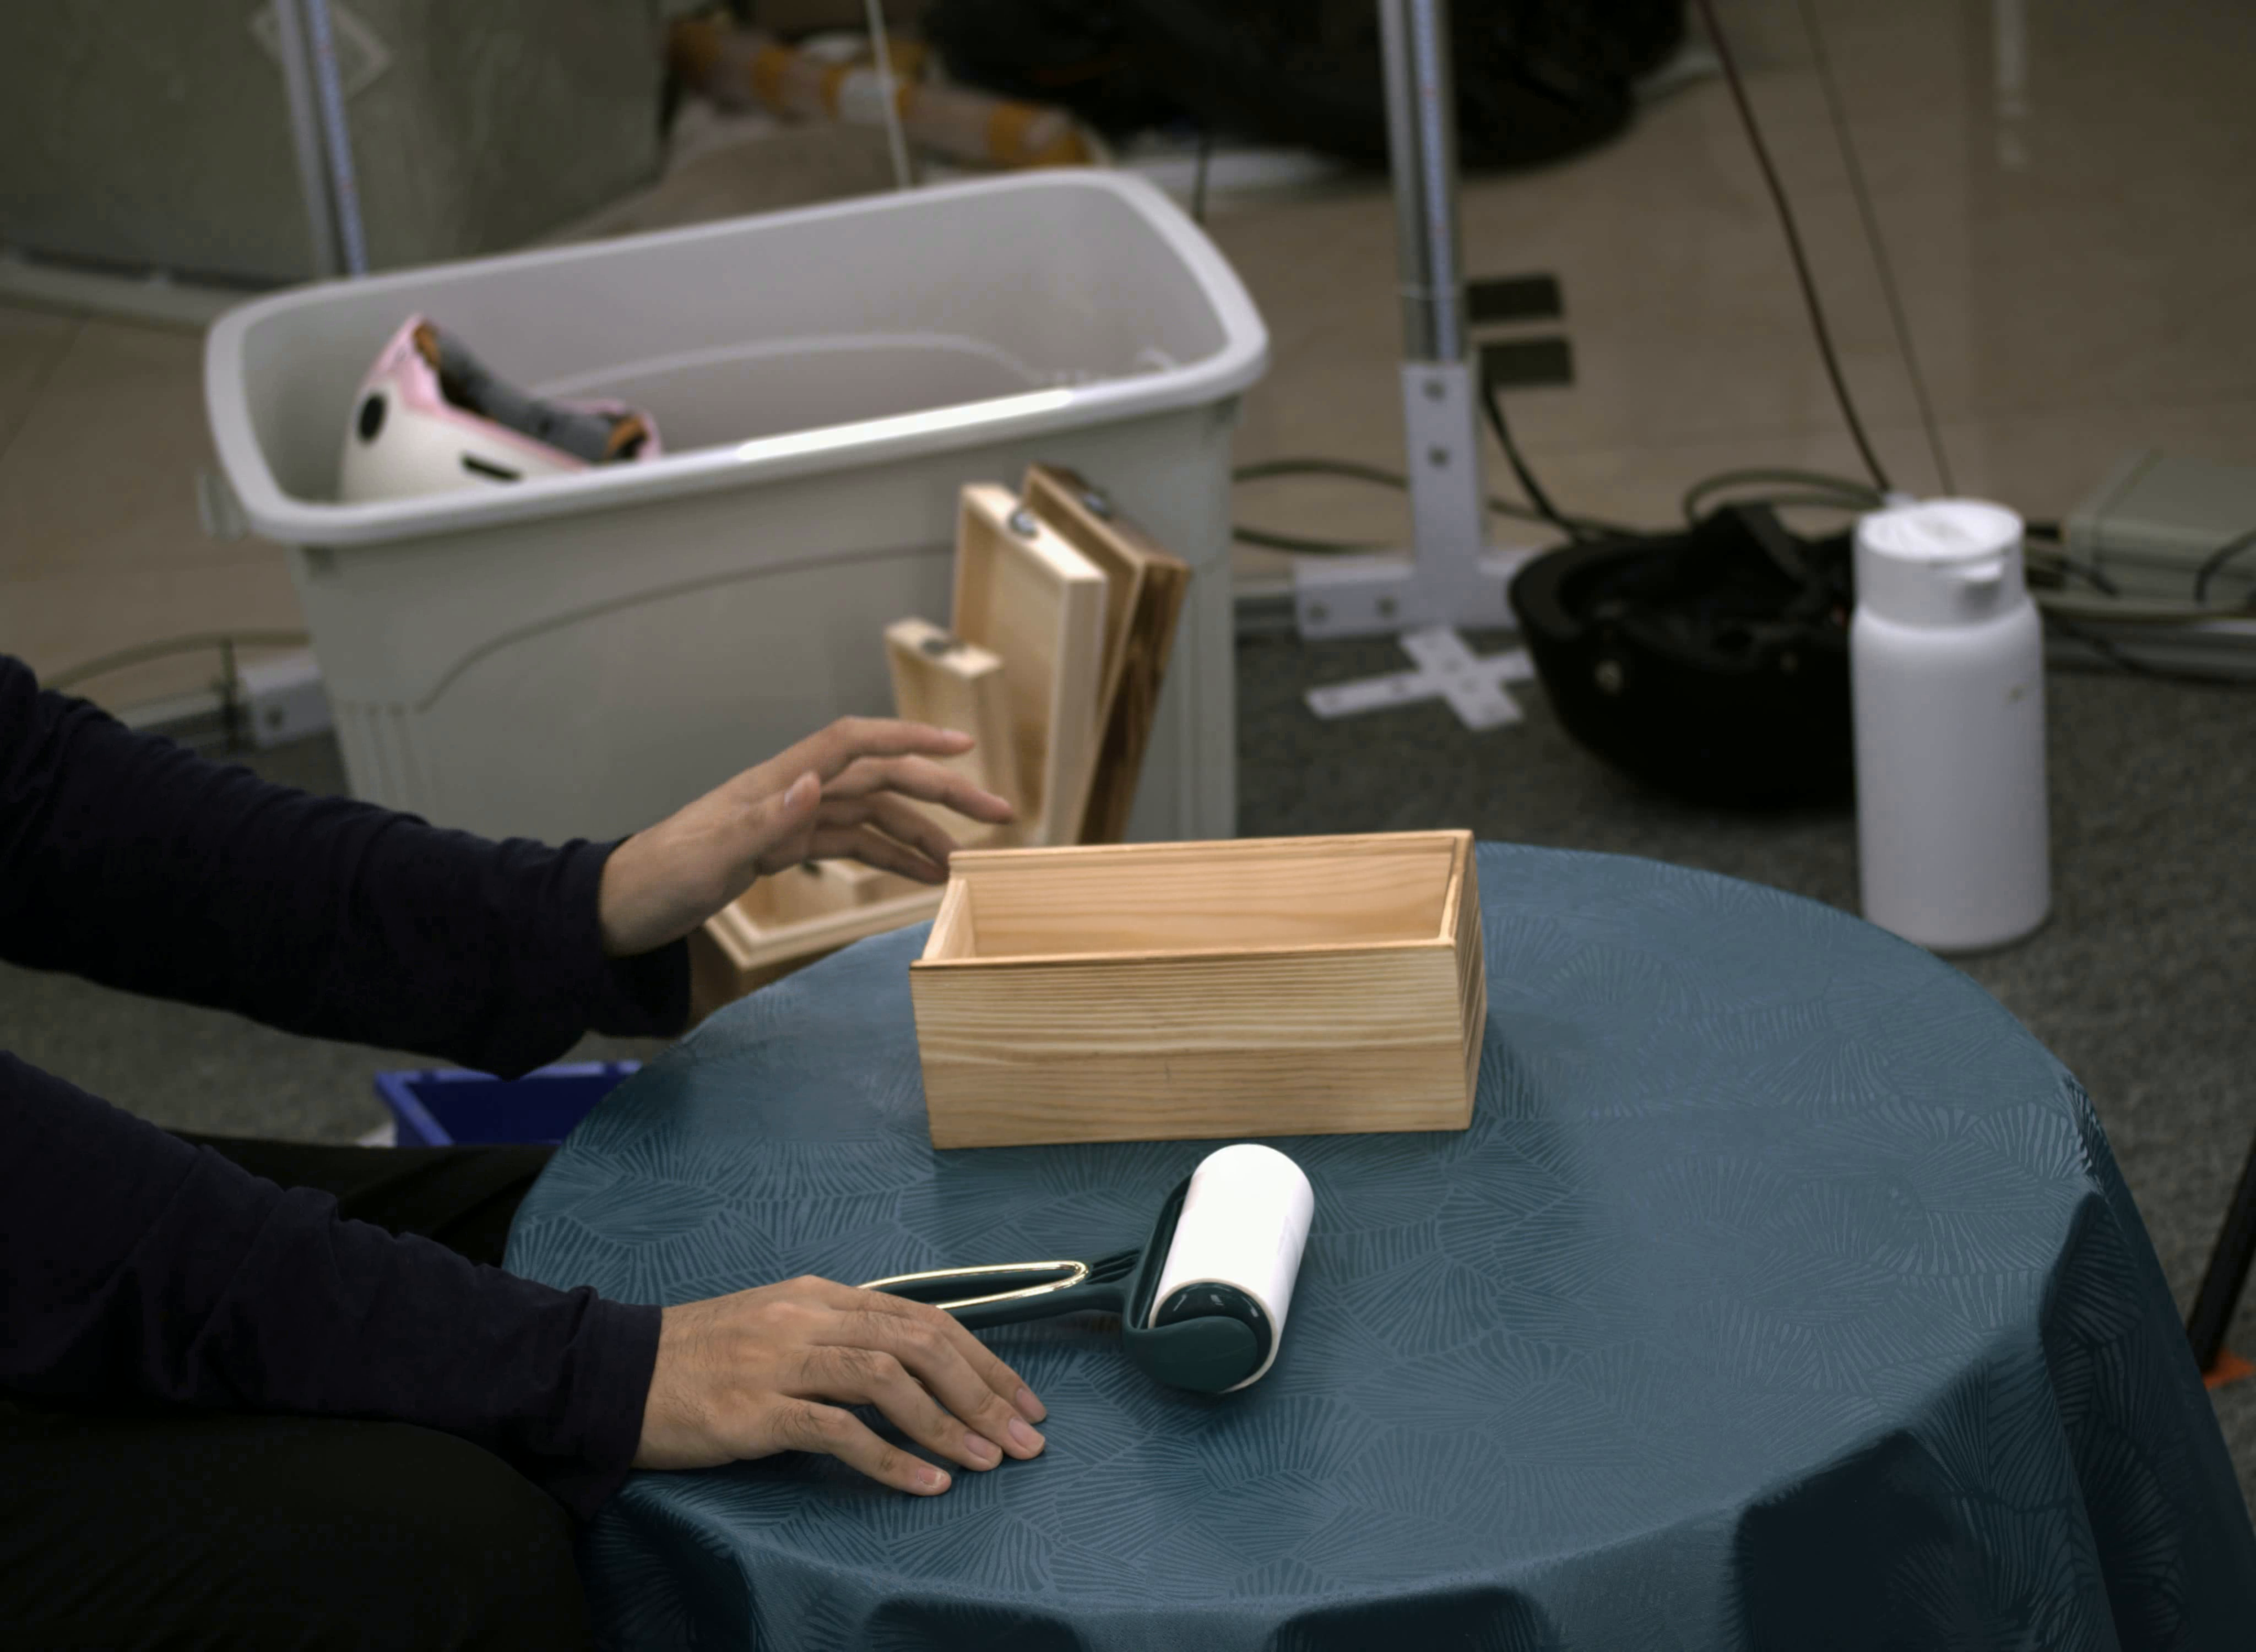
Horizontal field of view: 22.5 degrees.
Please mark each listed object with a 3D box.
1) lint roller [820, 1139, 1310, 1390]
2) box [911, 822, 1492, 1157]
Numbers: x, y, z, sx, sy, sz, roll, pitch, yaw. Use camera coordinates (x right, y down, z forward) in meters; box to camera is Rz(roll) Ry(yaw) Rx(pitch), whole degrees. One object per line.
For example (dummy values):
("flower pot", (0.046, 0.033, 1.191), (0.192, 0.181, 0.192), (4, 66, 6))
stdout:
("lint roller", (-0.028, 0.164, 2.056), (0.180, 0.049, 0.132), (-5, 24, 11))
("box", (0.031, 0.063, 2.211), (0.211, 0.081, 0.106), (-4, 26, 9))
